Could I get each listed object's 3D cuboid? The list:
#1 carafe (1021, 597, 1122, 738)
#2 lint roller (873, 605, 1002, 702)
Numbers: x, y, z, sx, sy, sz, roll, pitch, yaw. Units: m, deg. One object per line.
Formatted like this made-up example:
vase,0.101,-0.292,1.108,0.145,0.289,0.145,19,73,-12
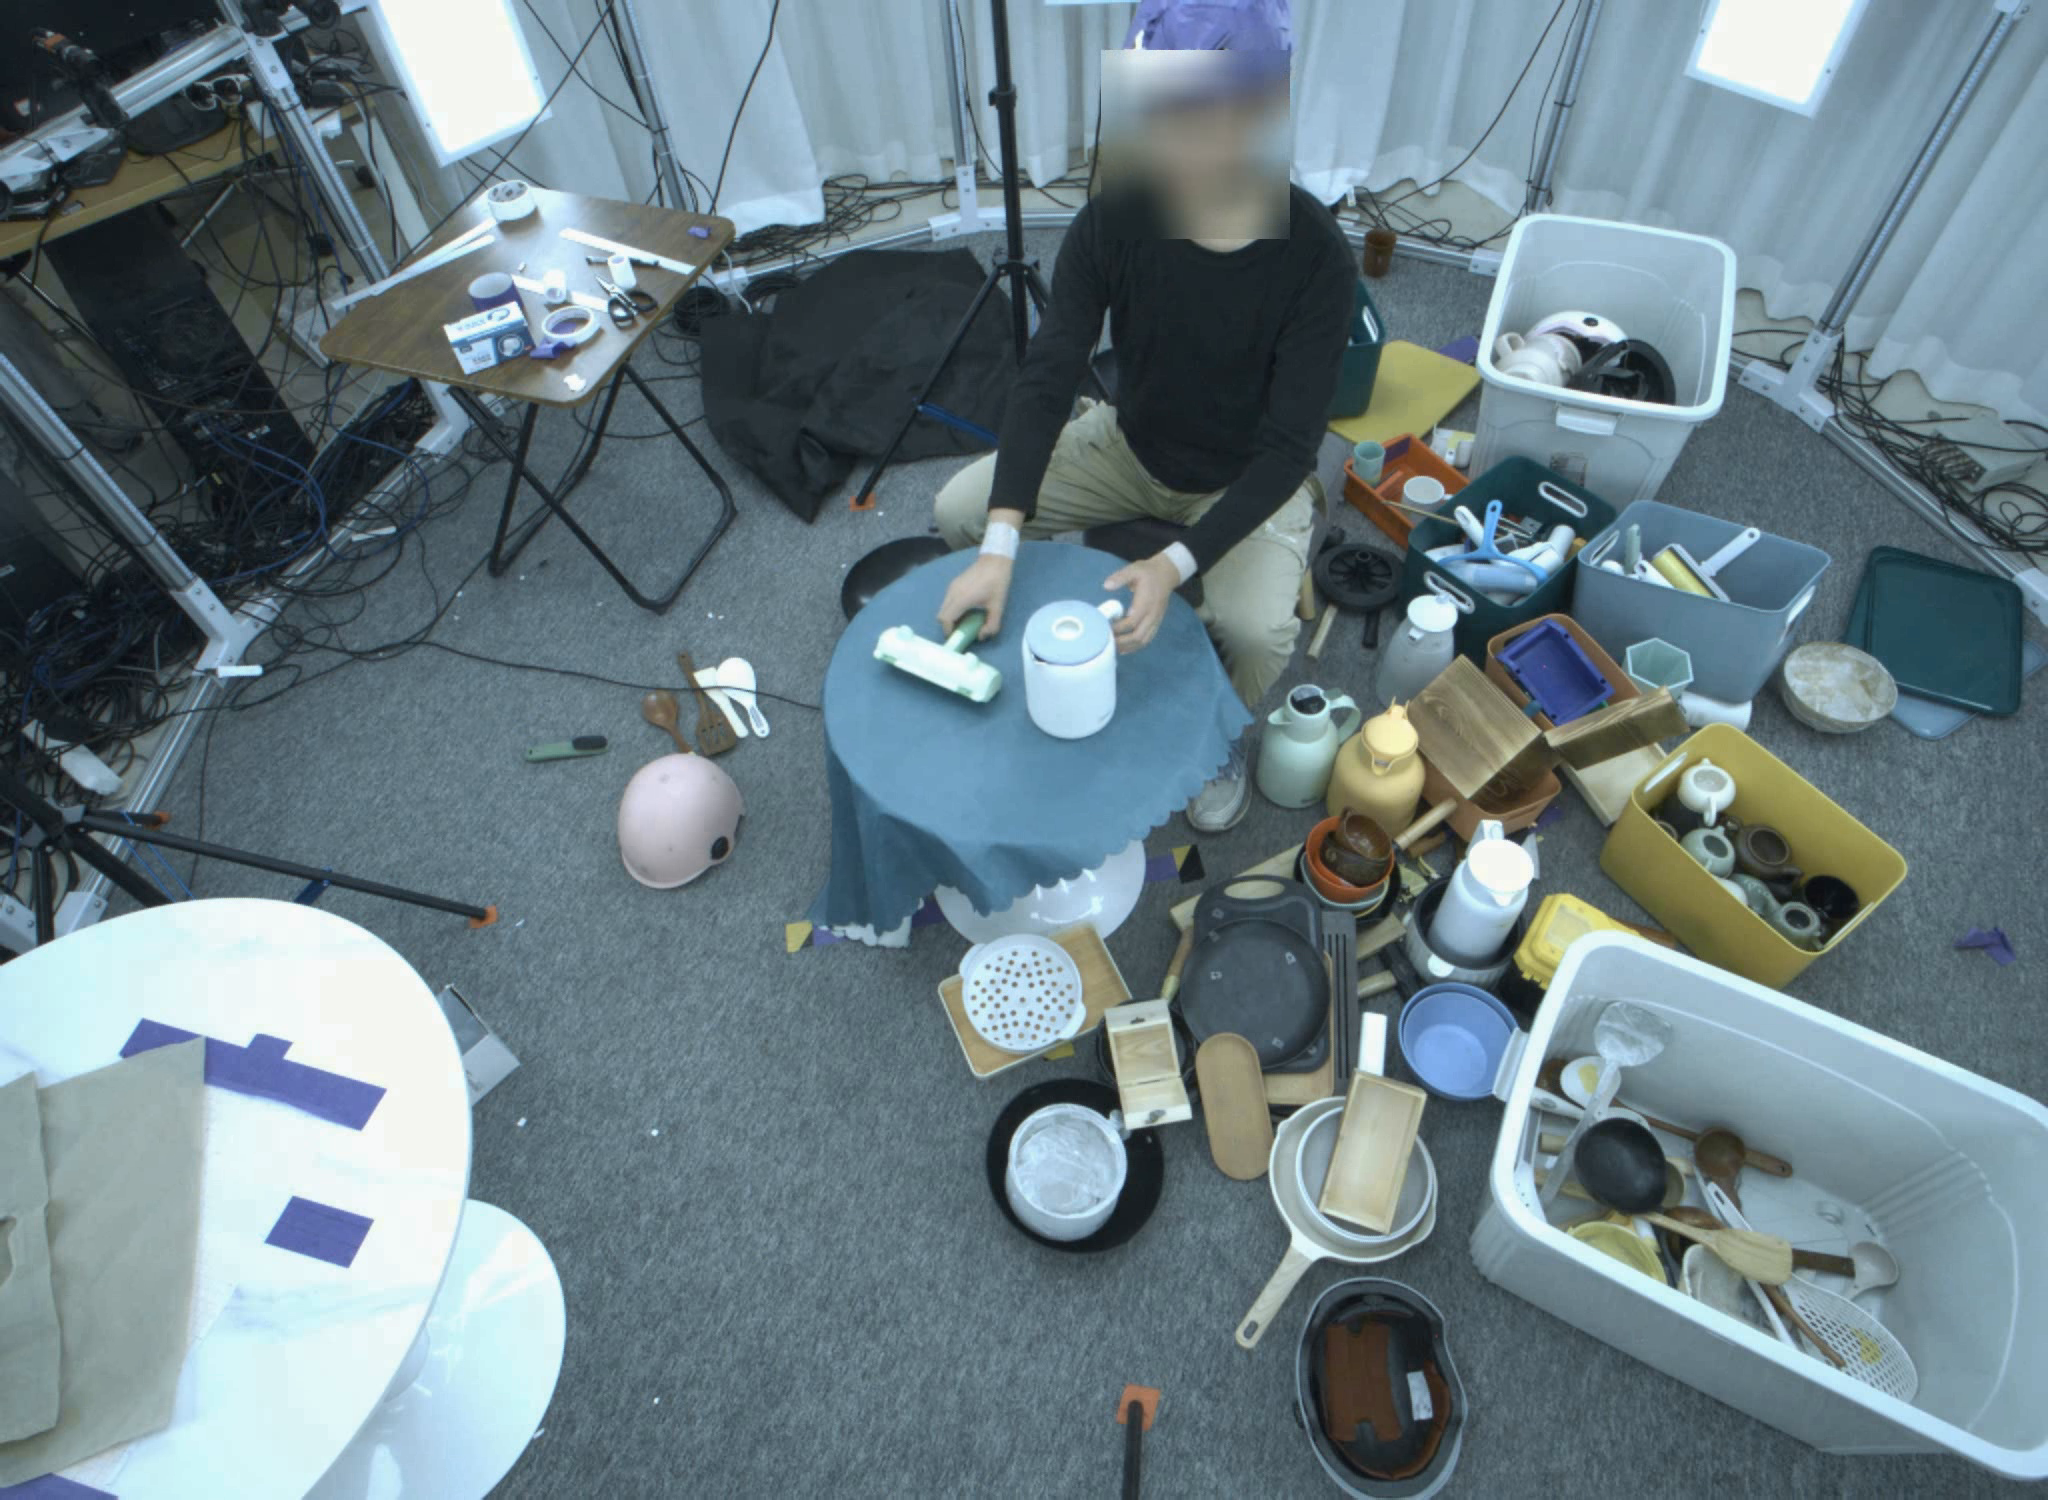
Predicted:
carafe,0.080,-0.131,1.772,0.130,0.184,0.192,34,61,23
lint roller,-0.103,-0.174,1.866,0.196,0.083,0.183,25,62,17
